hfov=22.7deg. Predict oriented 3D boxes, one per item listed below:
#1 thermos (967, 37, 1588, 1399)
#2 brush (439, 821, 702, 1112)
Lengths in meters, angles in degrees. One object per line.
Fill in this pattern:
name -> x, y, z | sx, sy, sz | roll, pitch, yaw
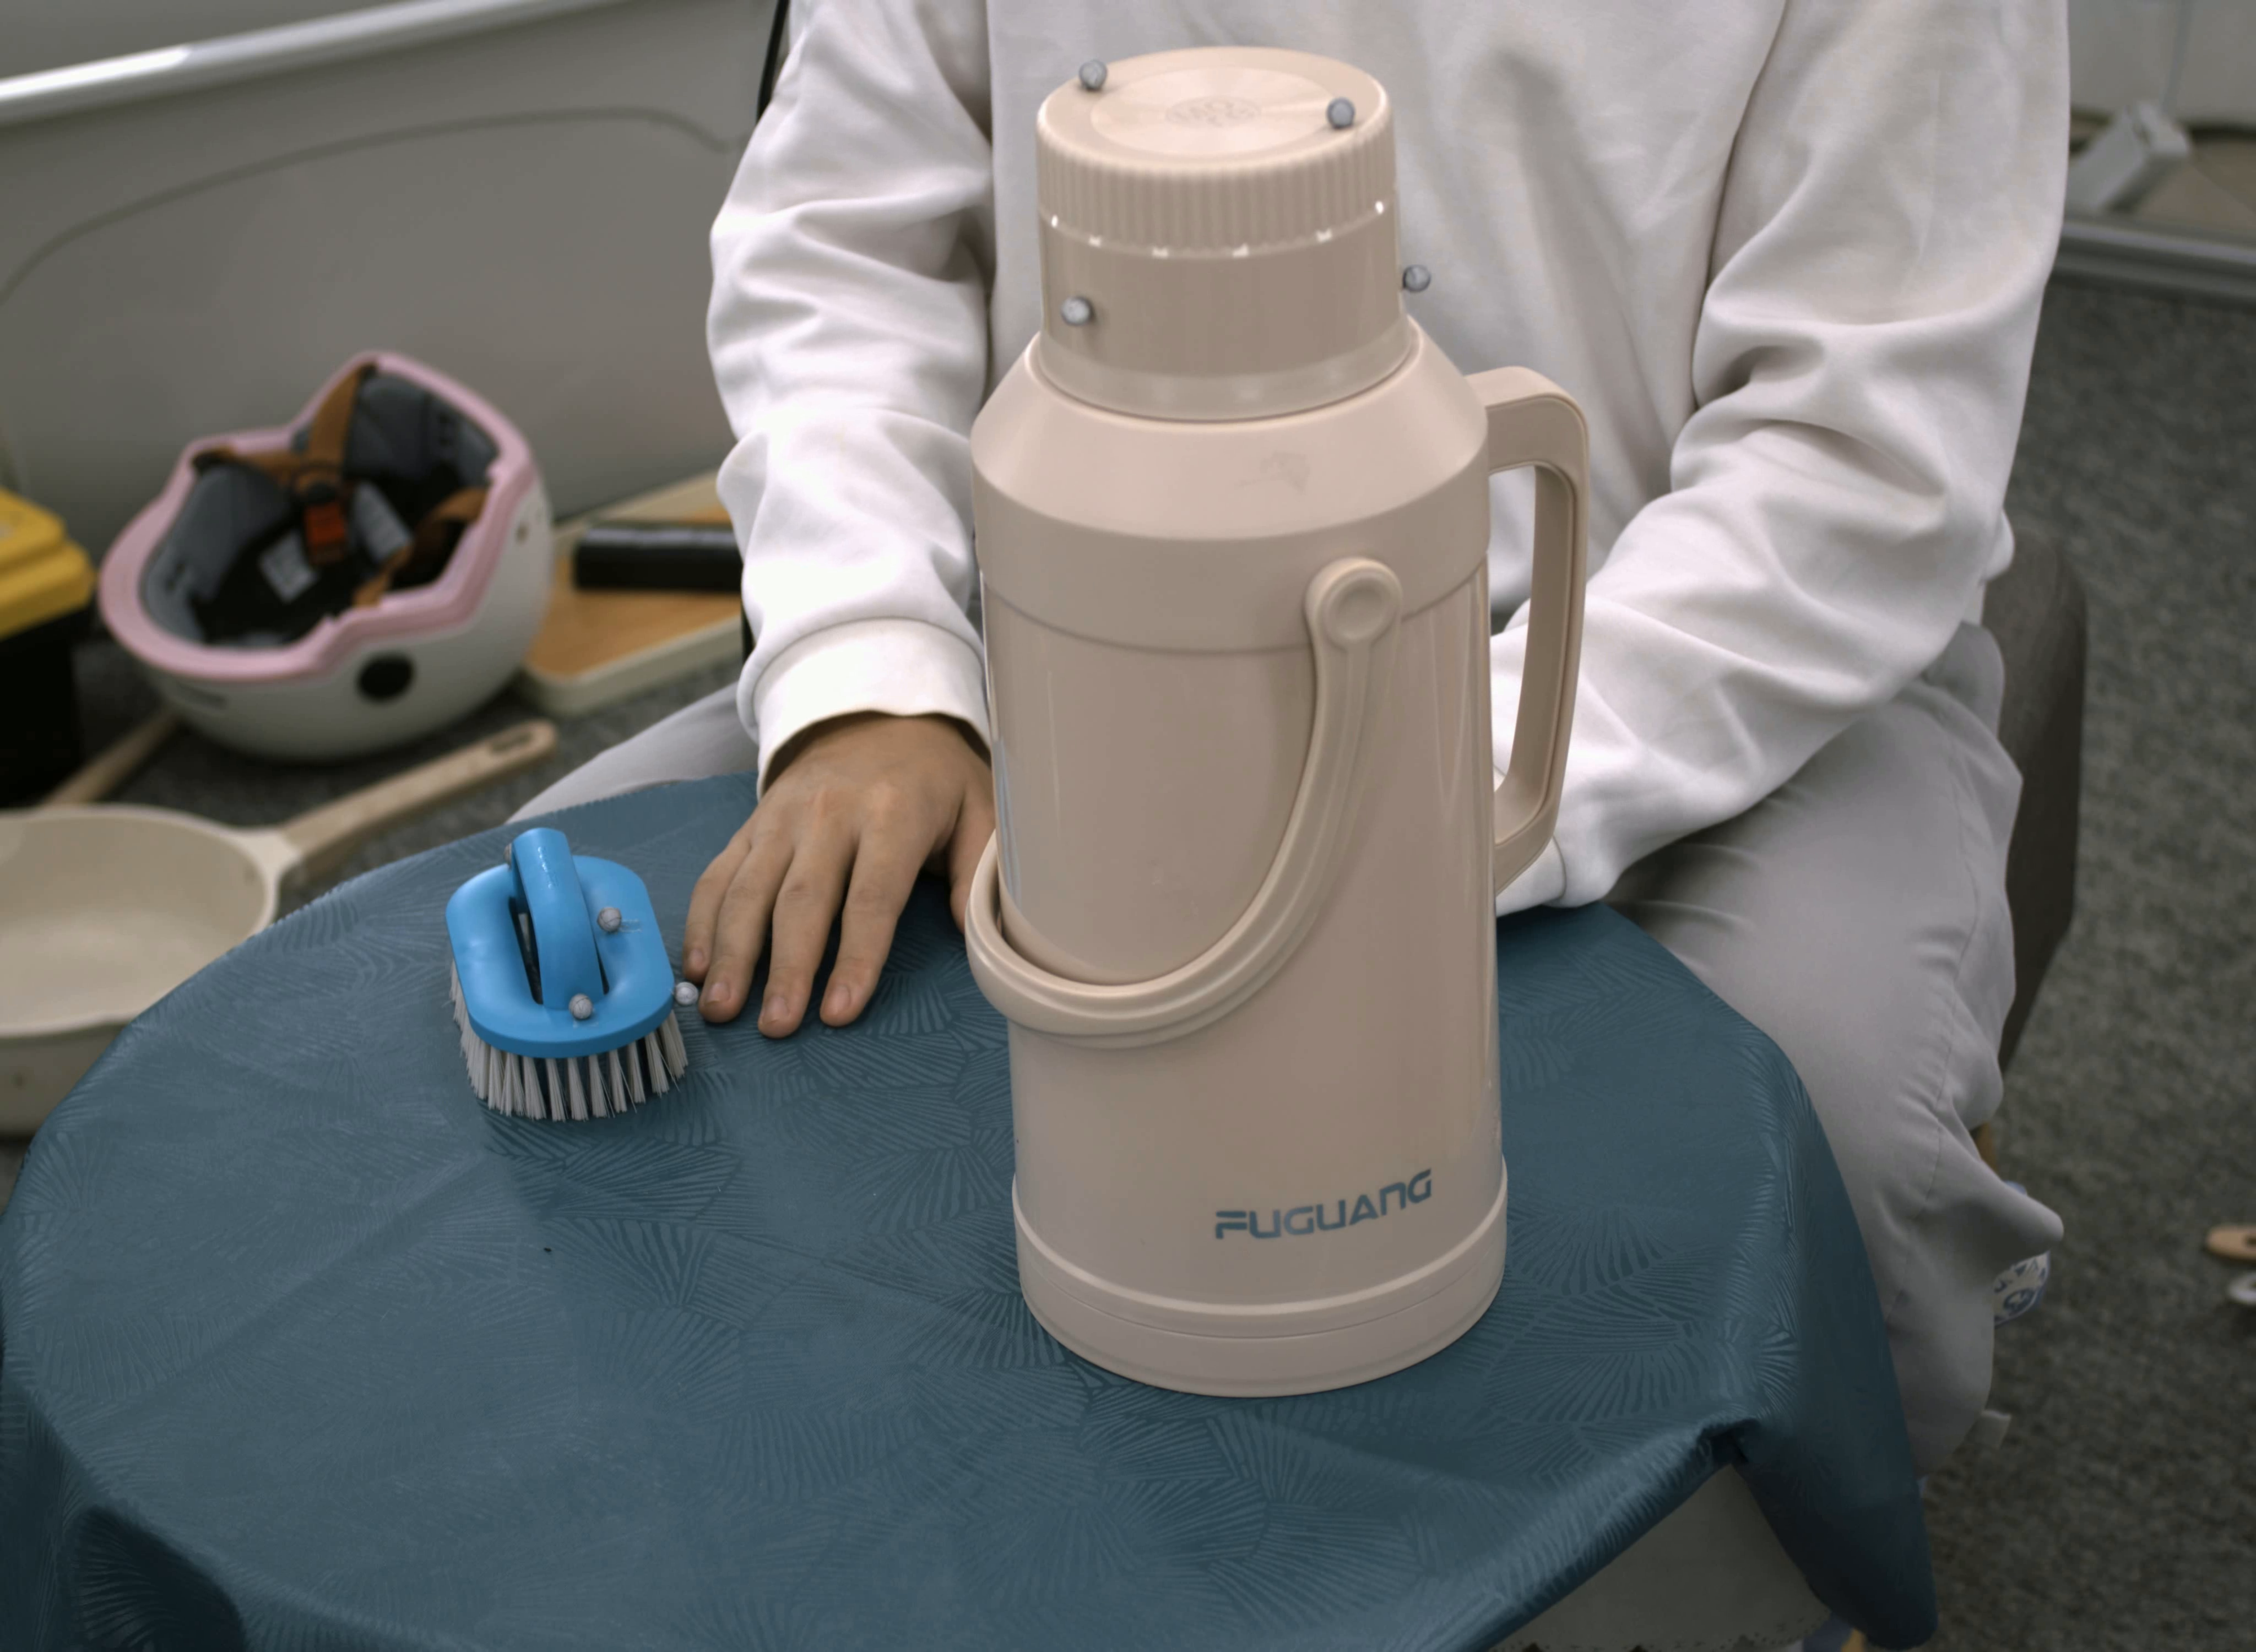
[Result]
thermos -> 0.048, -0.036, 1.739 | 0.208, 0.402, 0.176 | -14, 27, -22
brush -> -0.199, 0.041, 1.968 | 0.084, 0.063, 0.143 | -12, 27, -6
